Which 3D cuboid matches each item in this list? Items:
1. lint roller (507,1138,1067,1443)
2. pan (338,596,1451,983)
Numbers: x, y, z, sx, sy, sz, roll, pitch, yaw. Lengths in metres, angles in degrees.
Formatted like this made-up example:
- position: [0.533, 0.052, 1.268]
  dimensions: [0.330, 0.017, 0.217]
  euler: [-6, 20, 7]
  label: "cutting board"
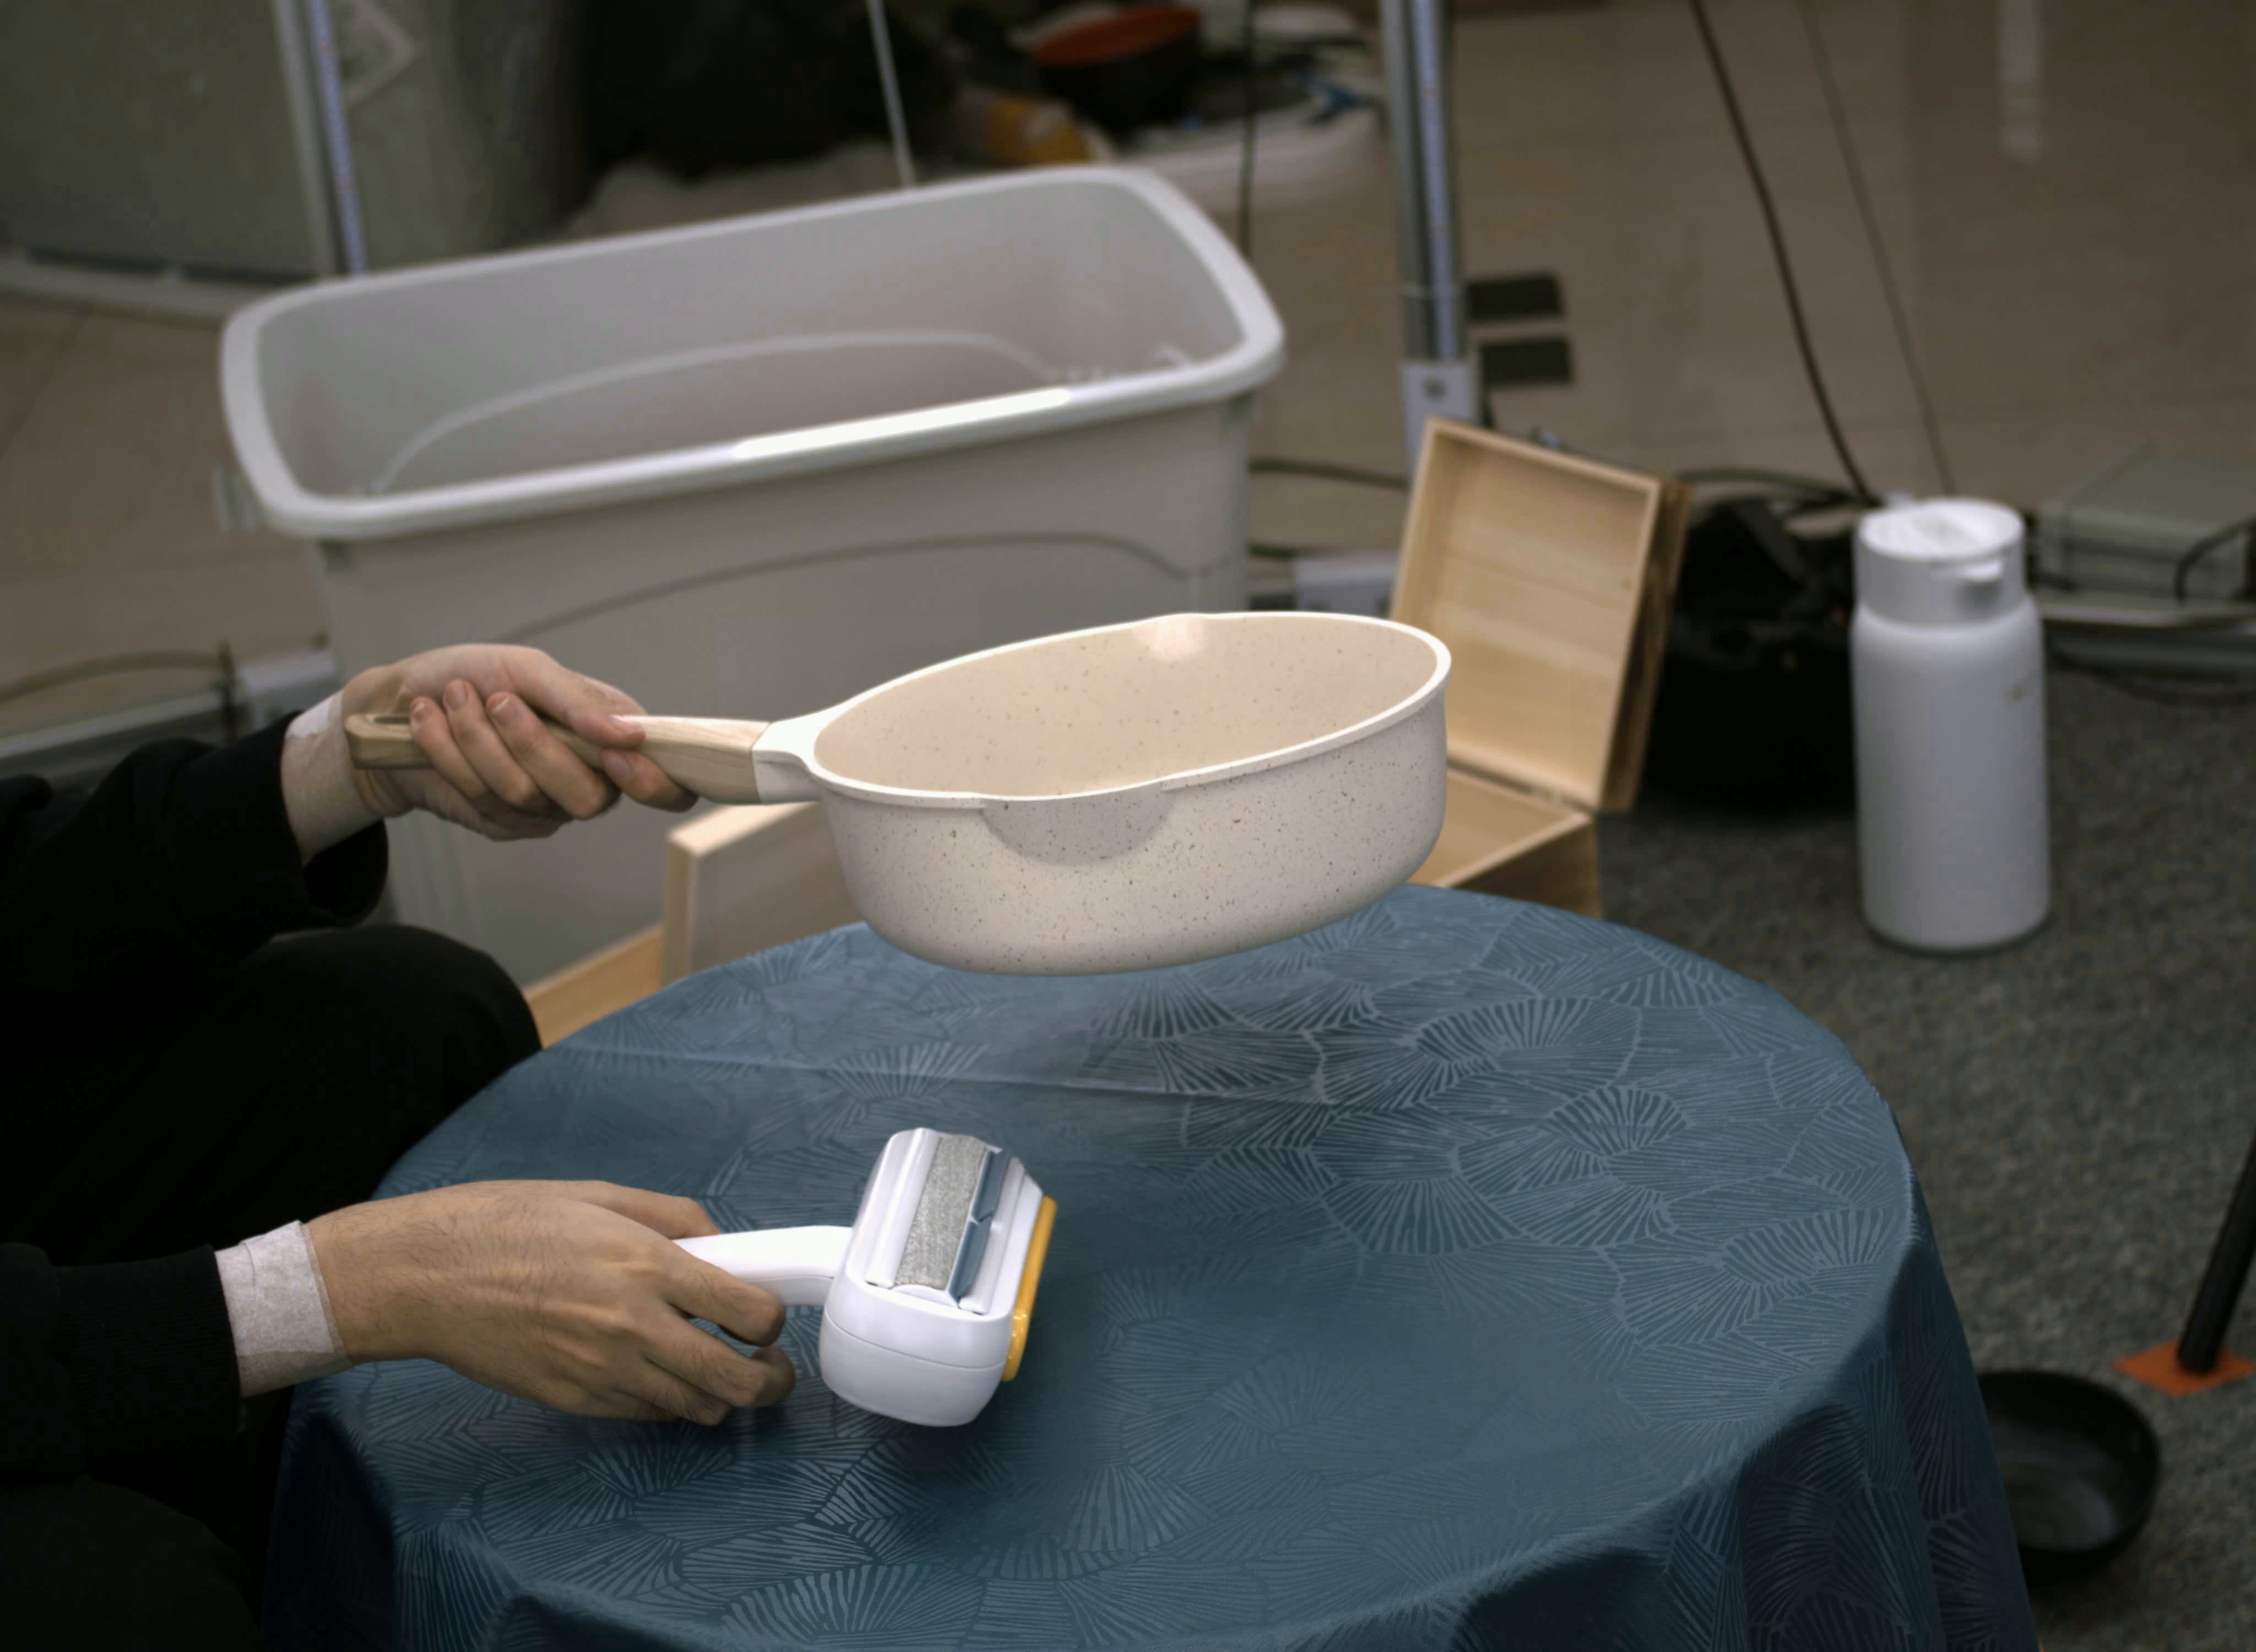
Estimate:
- position: [-0.126, 0.161, 2.019]
  dimensions: [0.192, 0.075, 0.190]
  euler: [7, 20, 6]
  label: "lint roller"
- position: [-0.087, -0.010, 2.183]
  dimensions: [0.434, 0.103, 0.260]
  euler: [-6, 18, 10]
  label: "pan"
